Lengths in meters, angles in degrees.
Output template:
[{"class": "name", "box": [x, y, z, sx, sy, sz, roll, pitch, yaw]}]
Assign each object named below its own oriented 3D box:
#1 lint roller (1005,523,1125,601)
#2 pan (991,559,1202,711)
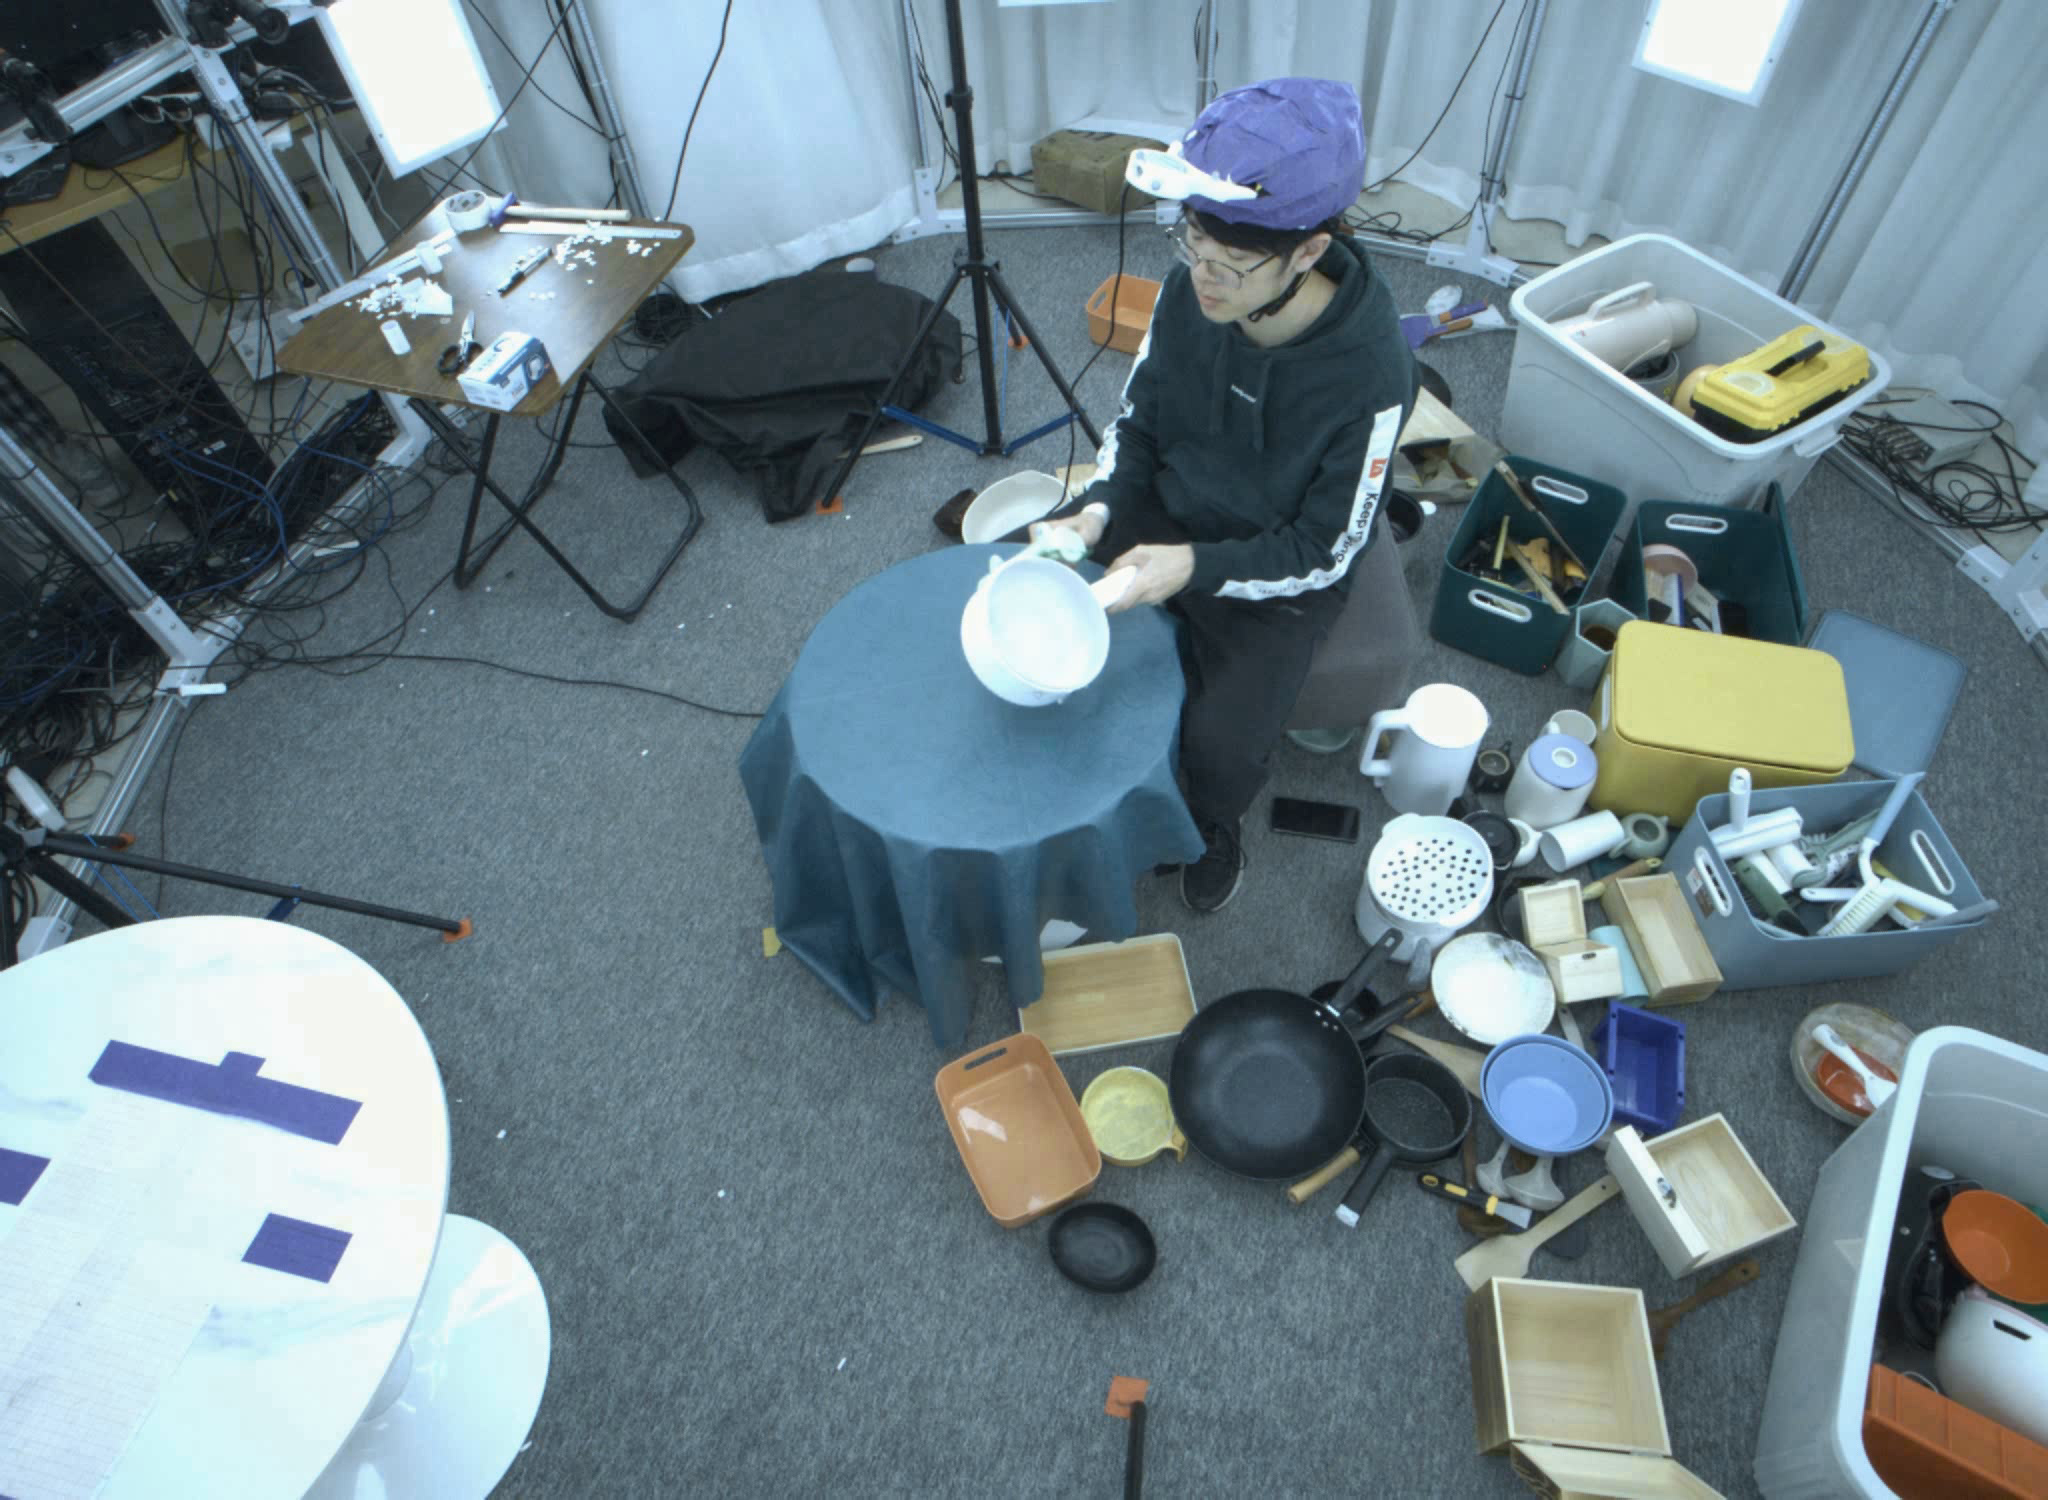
[{"class": "lint roller", "box": [0.080, -0.293, 1.823, 0.185, 0.195, 0.082, -40, 99, -41]}, {"class": "pan", "box": [0.107, -0.186, 1.760, 0.359, 0.101, 0.201, -30, 89, -35]}]
